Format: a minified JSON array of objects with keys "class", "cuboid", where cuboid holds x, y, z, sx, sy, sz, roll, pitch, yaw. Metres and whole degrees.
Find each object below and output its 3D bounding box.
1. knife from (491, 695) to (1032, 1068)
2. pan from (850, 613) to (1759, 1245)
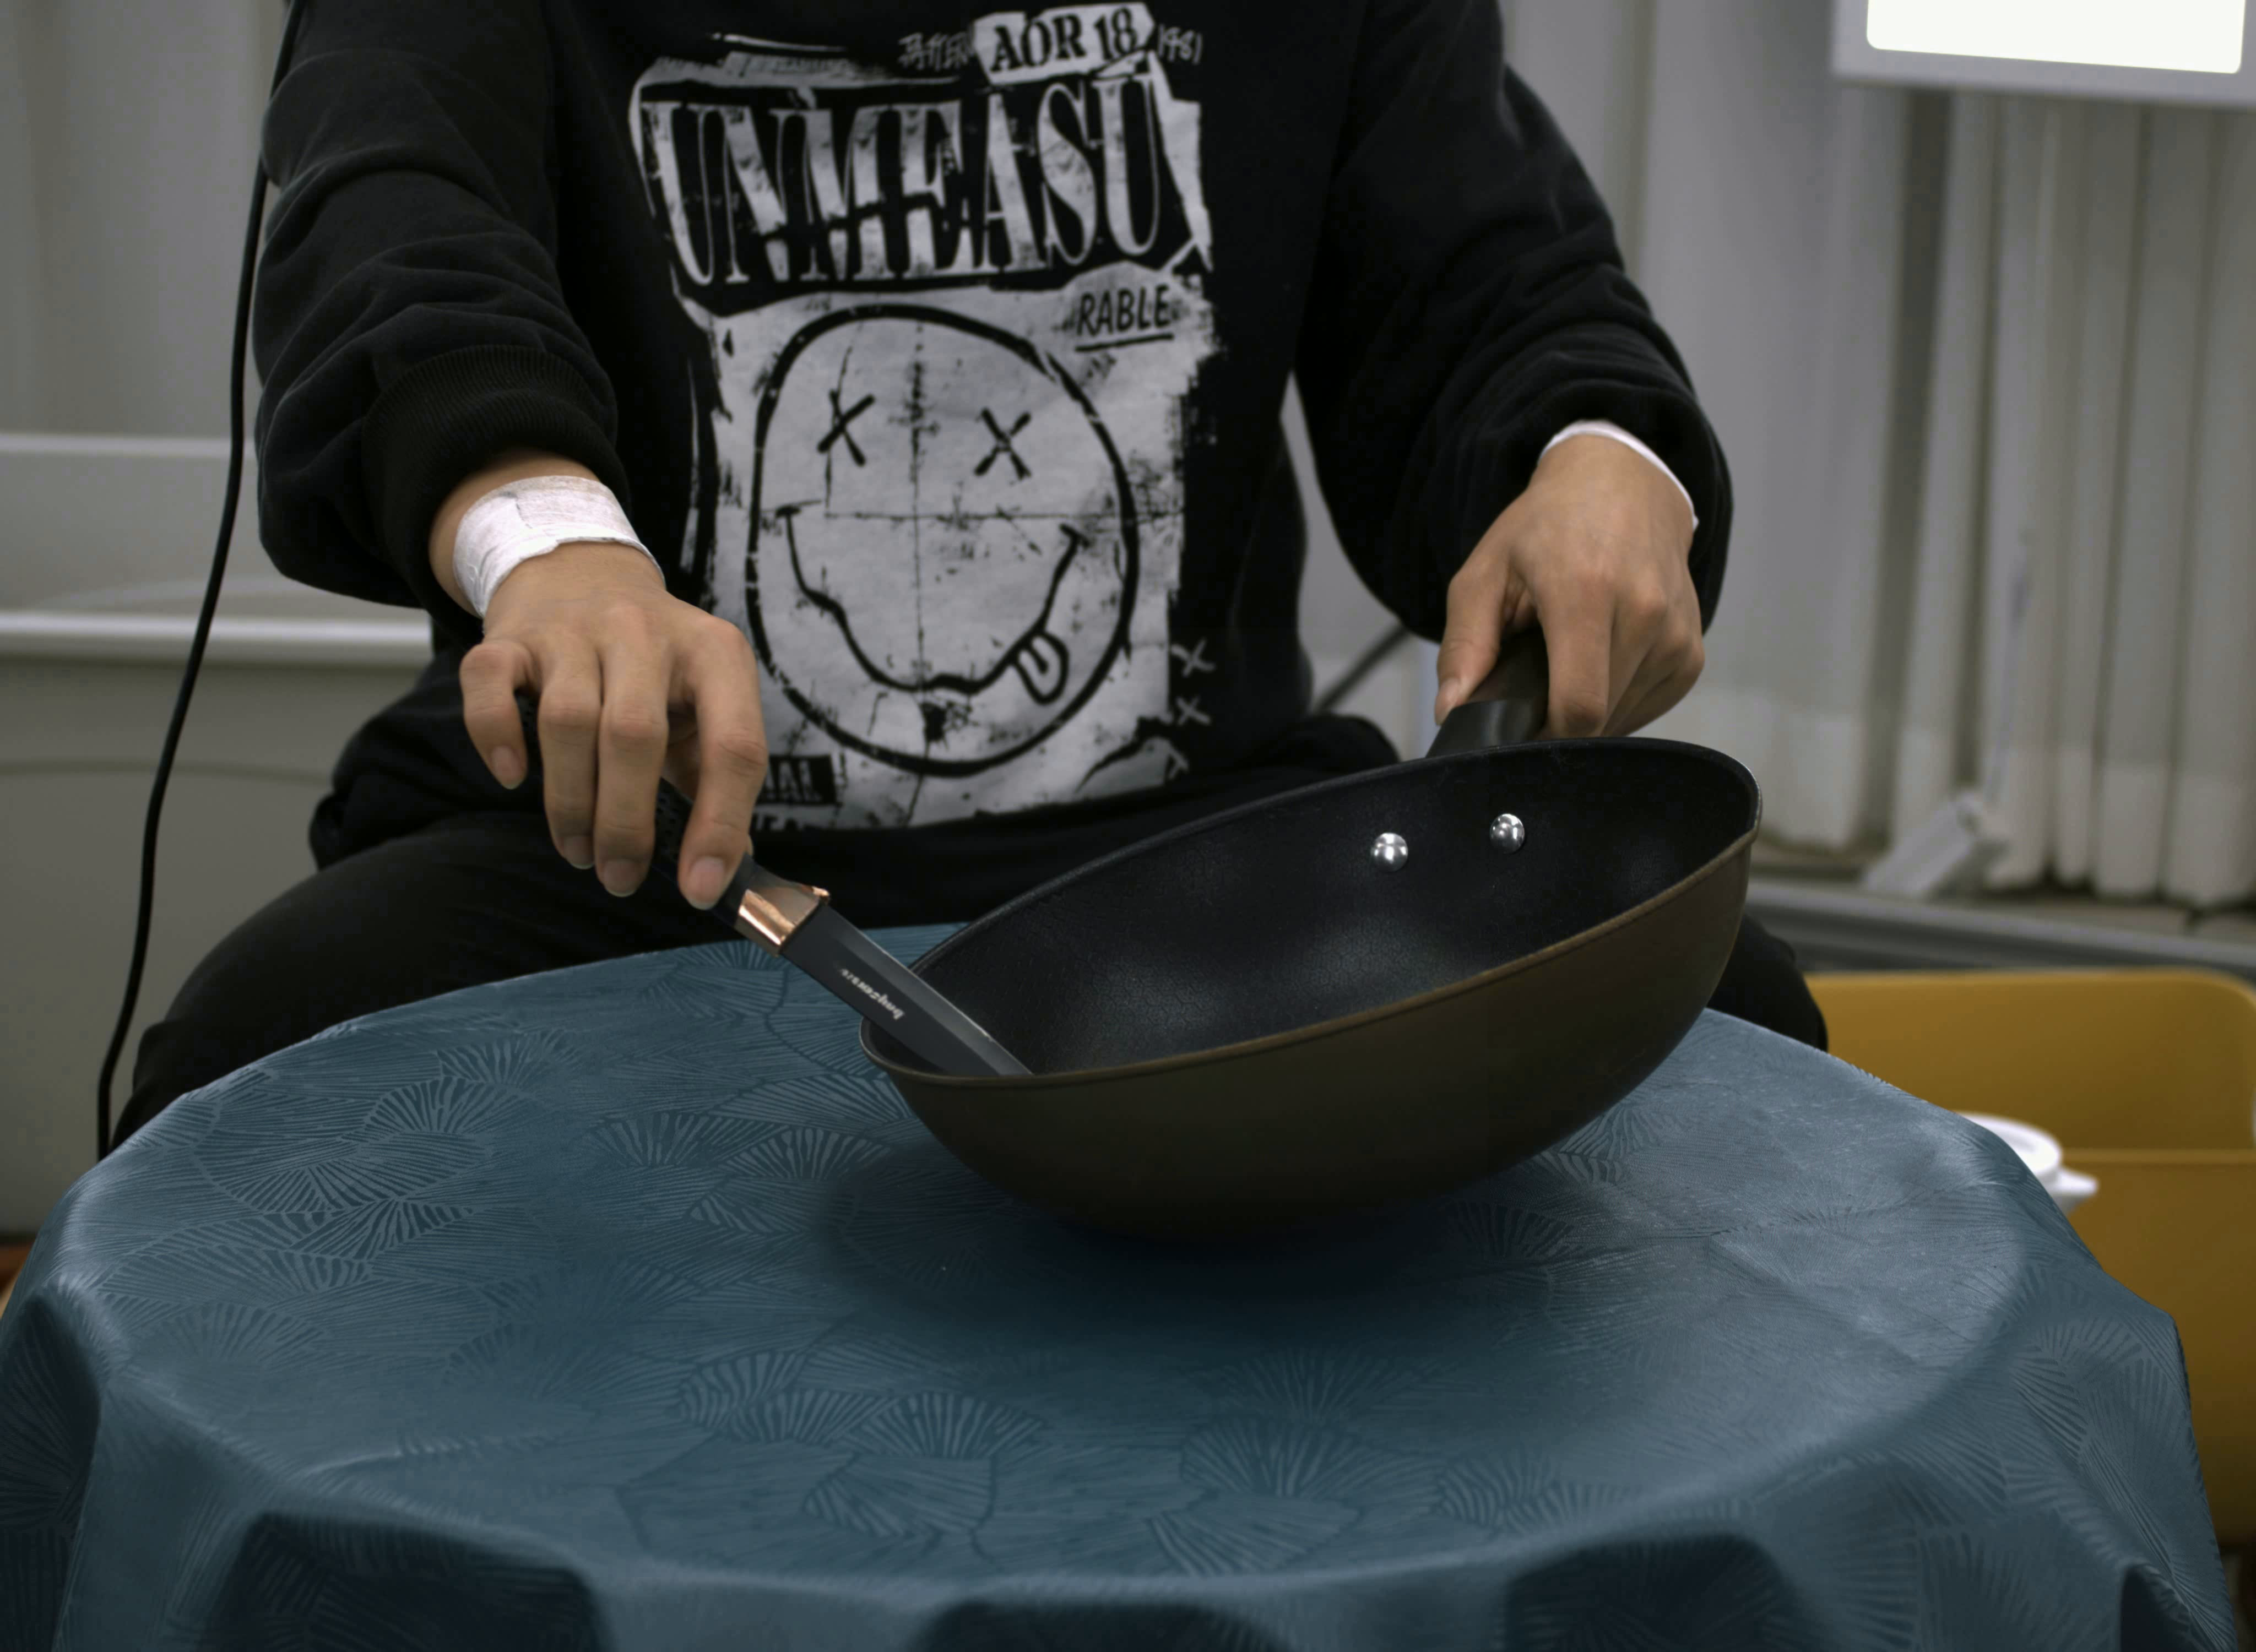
[{"class":"knife","cuboid":[-0.093,0.029,1.532,0.224,0.017,0.026,36,52,8]},{"class":"pan","cuboid":[0.093,0.032,1.675,0.286,0.087,0.463,-10,14,24]}]
